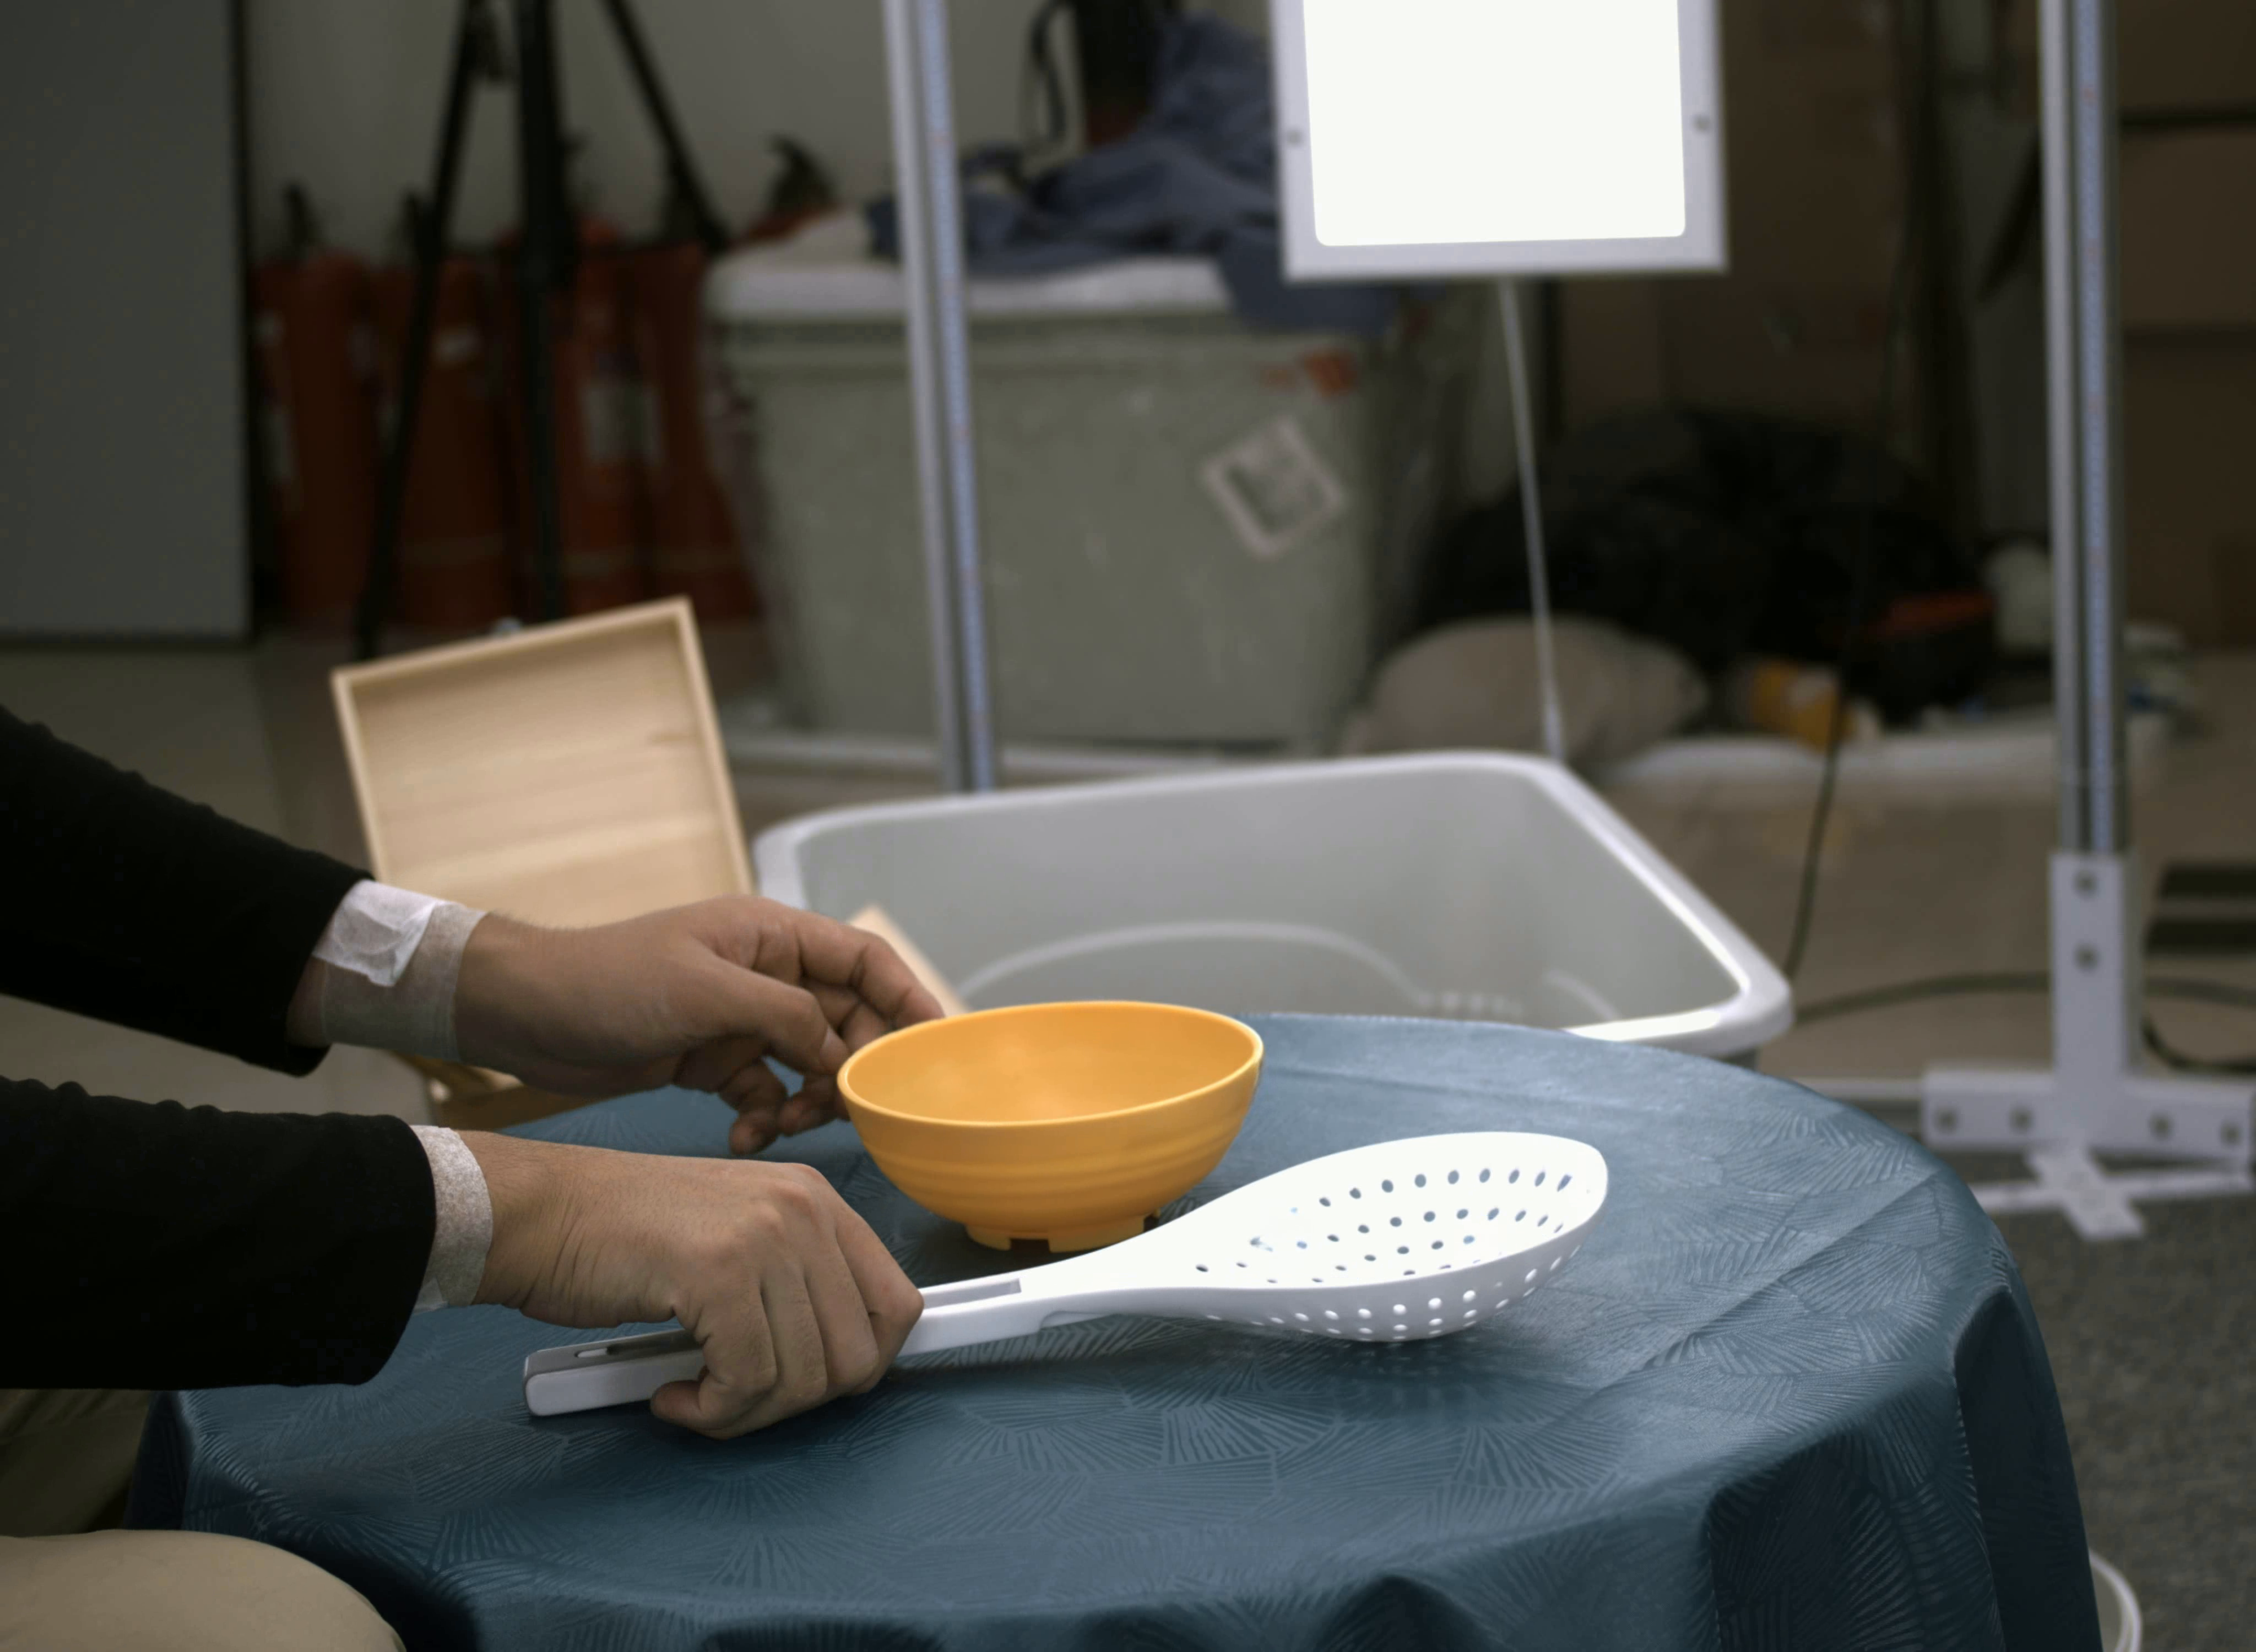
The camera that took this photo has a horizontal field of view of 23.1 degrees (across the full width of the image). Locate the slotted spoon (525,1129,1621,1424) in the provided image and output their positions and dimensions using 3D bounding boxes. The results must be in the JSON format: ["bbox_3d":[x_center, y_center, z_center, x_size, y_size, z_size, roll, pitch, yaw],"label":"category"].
[{"bbox_3d":[-0.017,0.146,1.729,0.348,0.046,0.136,-6,14,-1],"label":"slotted spoon"}]

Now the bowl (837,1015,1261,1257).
[{"bbox_3d":[-0.025,0.108,1.863,0.145,0.060,0.145,-4,12,0],"label":"bowl"}]
